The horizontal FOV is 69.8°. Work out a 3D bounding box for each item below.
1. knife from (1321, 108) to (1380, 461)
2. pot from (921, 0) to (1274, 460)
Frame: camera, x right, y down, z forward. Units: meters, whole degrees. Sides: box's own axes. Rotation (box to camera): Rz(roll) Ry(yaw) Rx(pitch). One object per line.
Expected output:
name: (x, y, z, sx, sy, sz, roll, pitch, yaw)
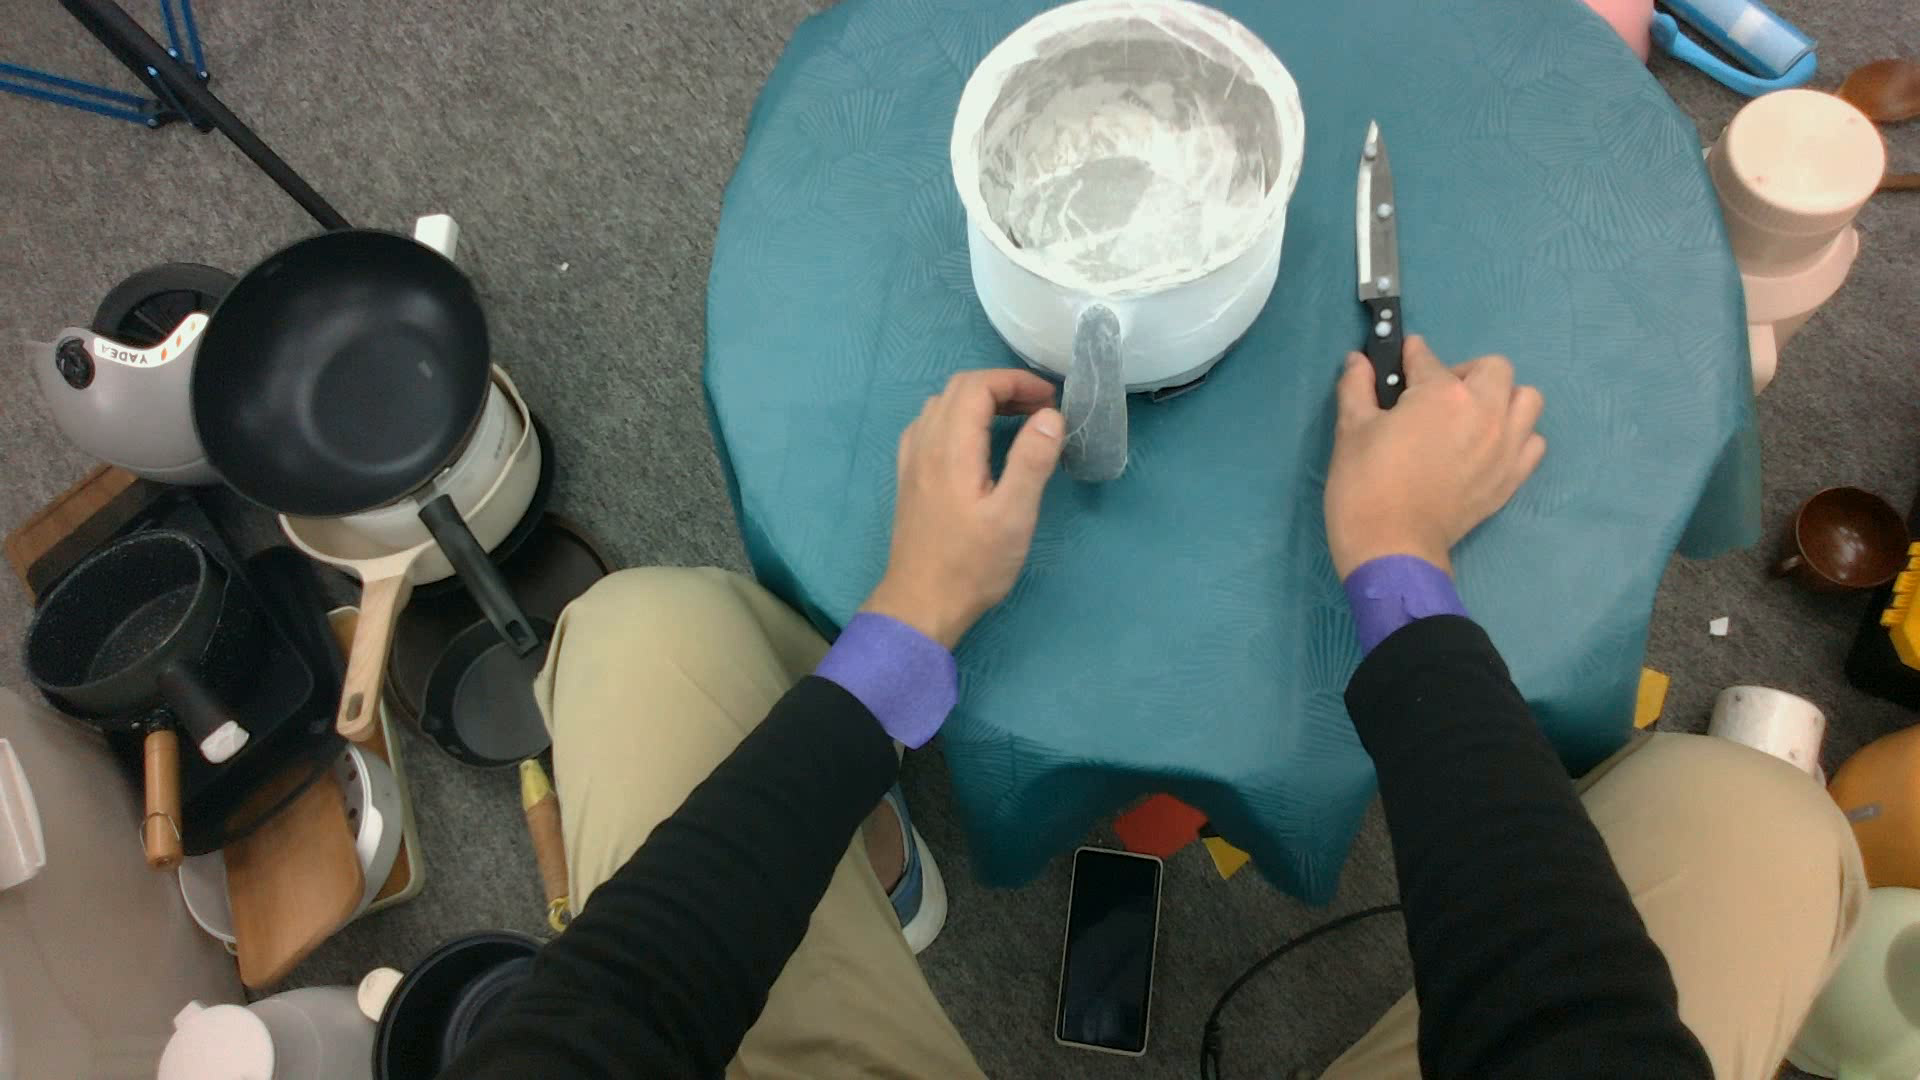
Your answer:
knife: (0.226, -0.155, 0.797, 0.024, 0.016, 0.239, -6, 66, 19)
pot: (0.071, -0.167, 0.745, 0.178, 0.136, 0.234, 5, 70, 8)
